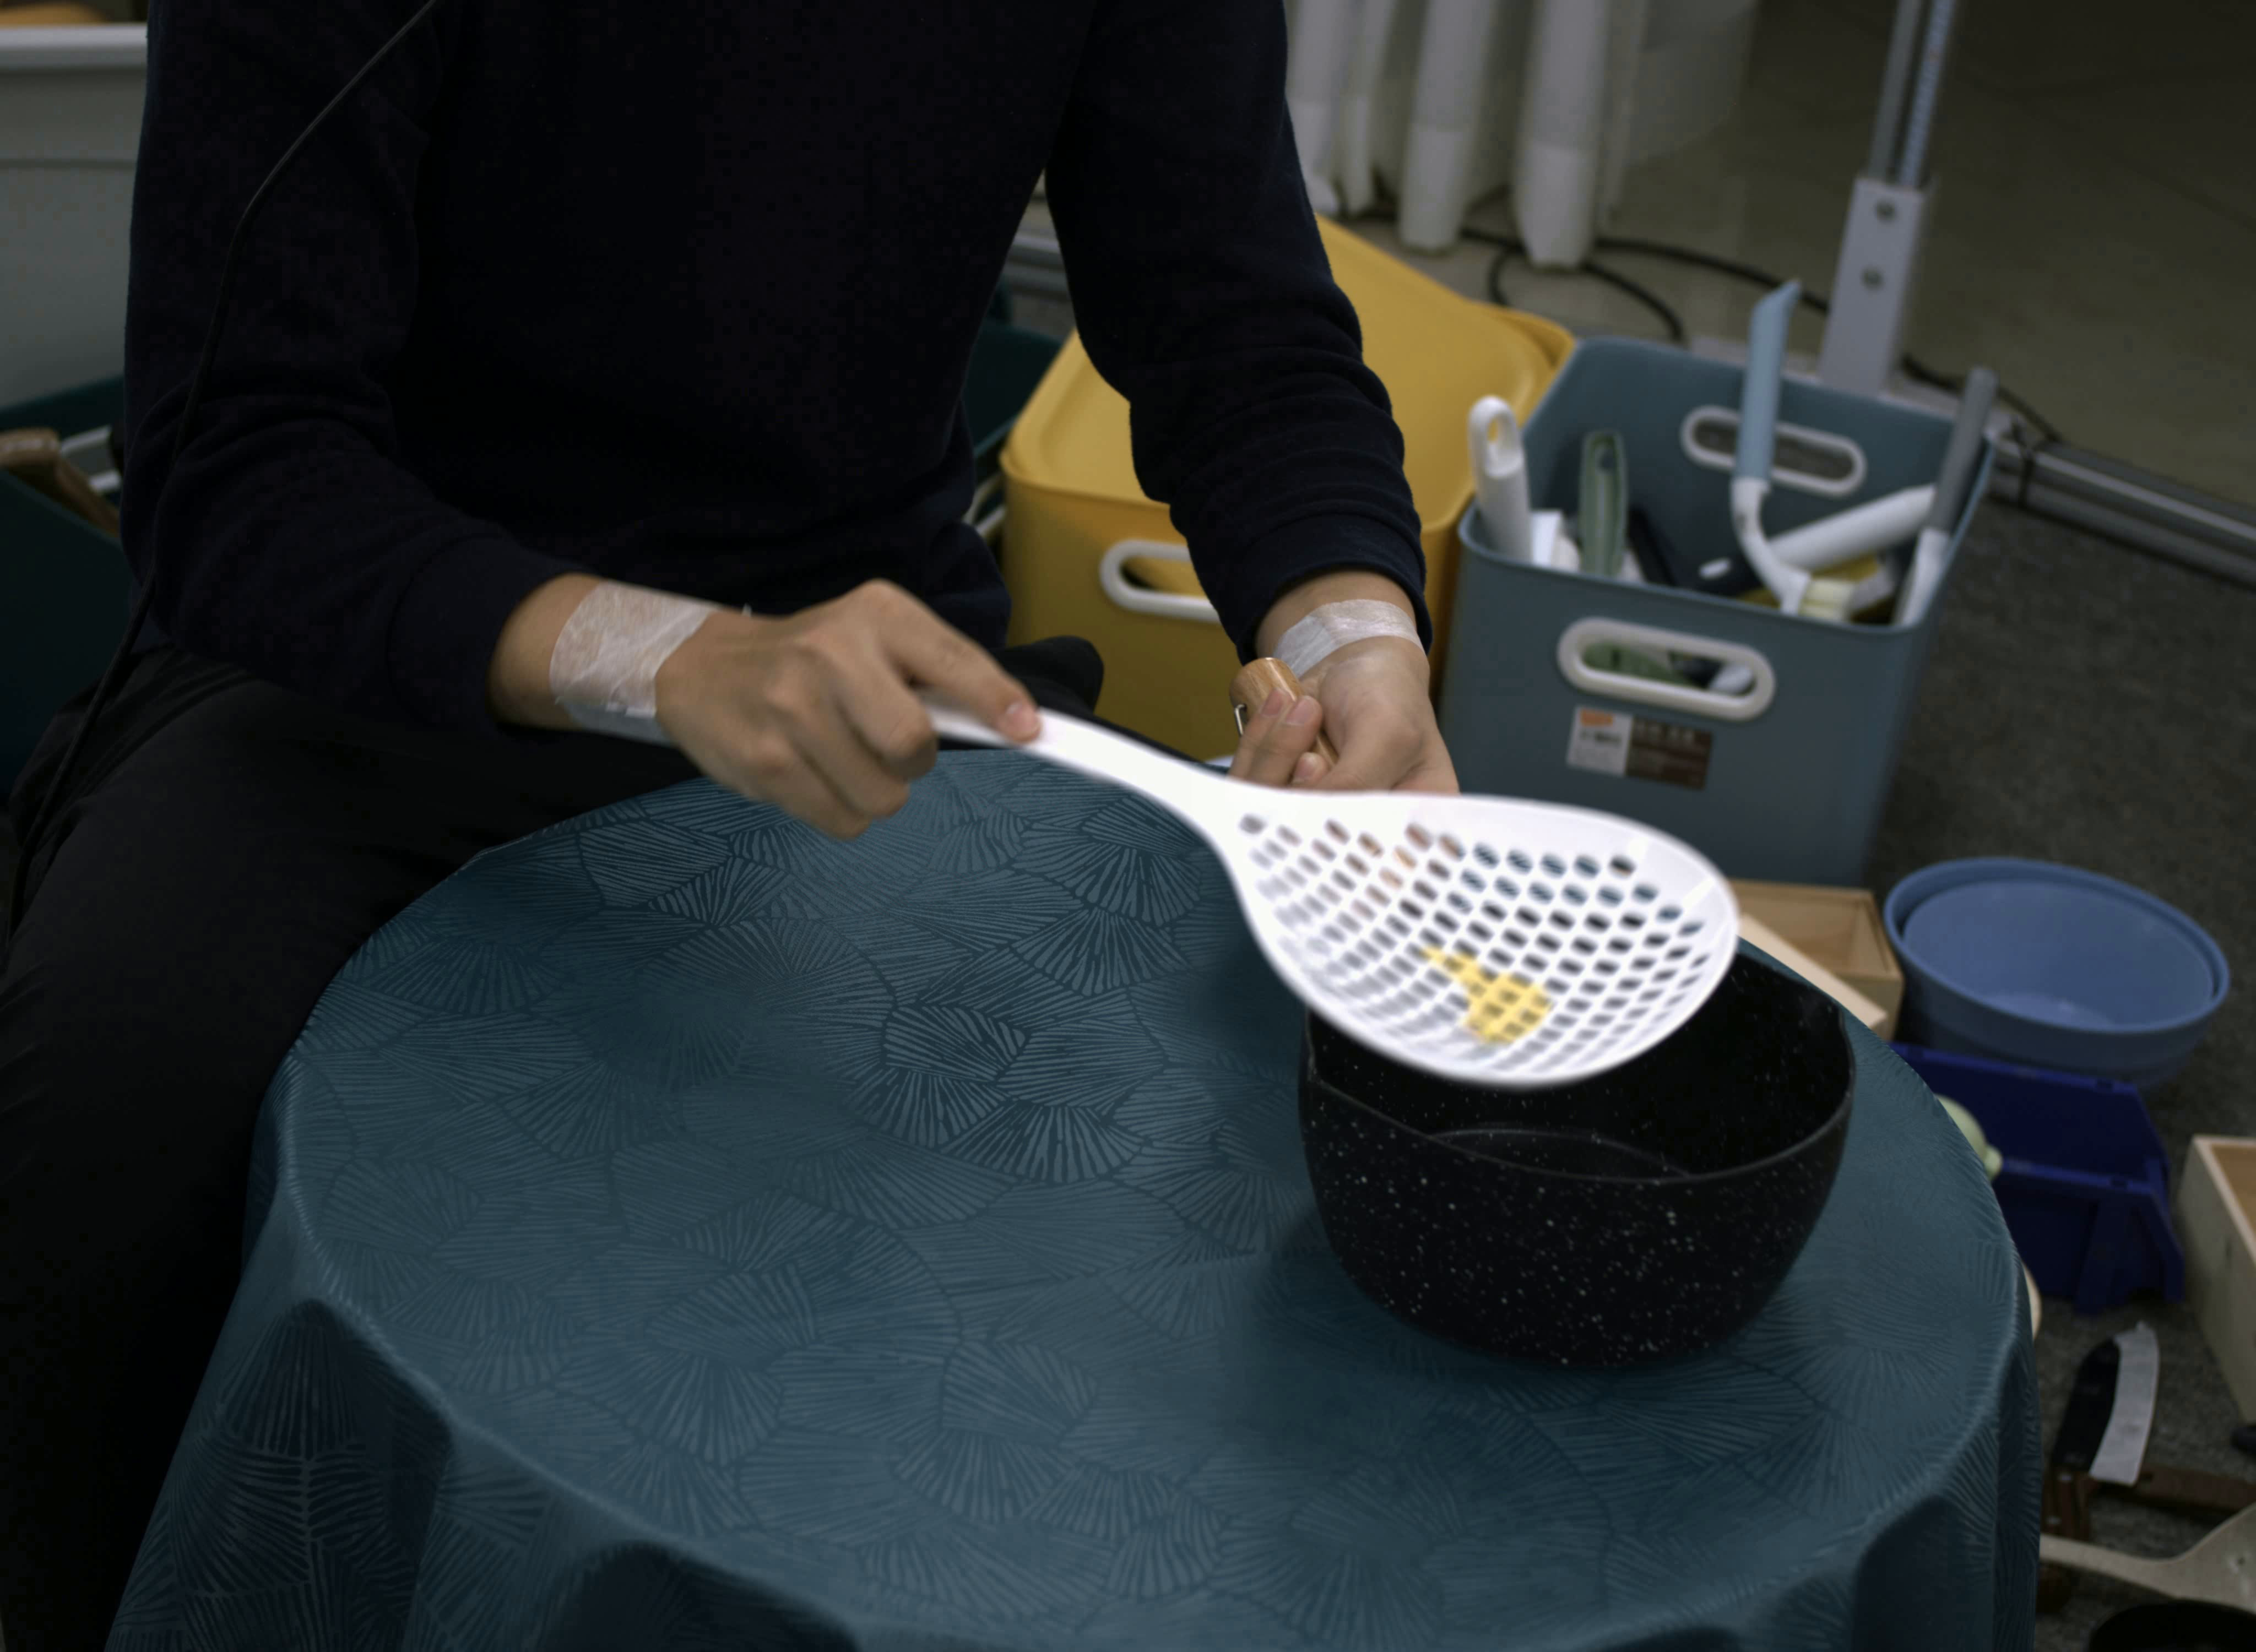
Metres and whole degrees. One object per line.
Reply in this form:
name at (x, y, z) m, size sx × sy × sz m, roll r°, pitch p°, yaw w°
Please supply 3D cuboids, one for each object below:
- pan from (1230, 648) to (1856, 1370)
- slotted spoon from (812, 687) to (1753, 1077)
pan at (0.111, 0.059, 1.831) m, size 0.206 × 0.108 × 0.346 m, roll -10°, pitch 32°, yaw -24°
slotted spoon at (0.039, 0.002, 1.728) m, size 0.350 × 0.050 × 0.137 m, roll 25°, pitch 48°, yaw 28°
